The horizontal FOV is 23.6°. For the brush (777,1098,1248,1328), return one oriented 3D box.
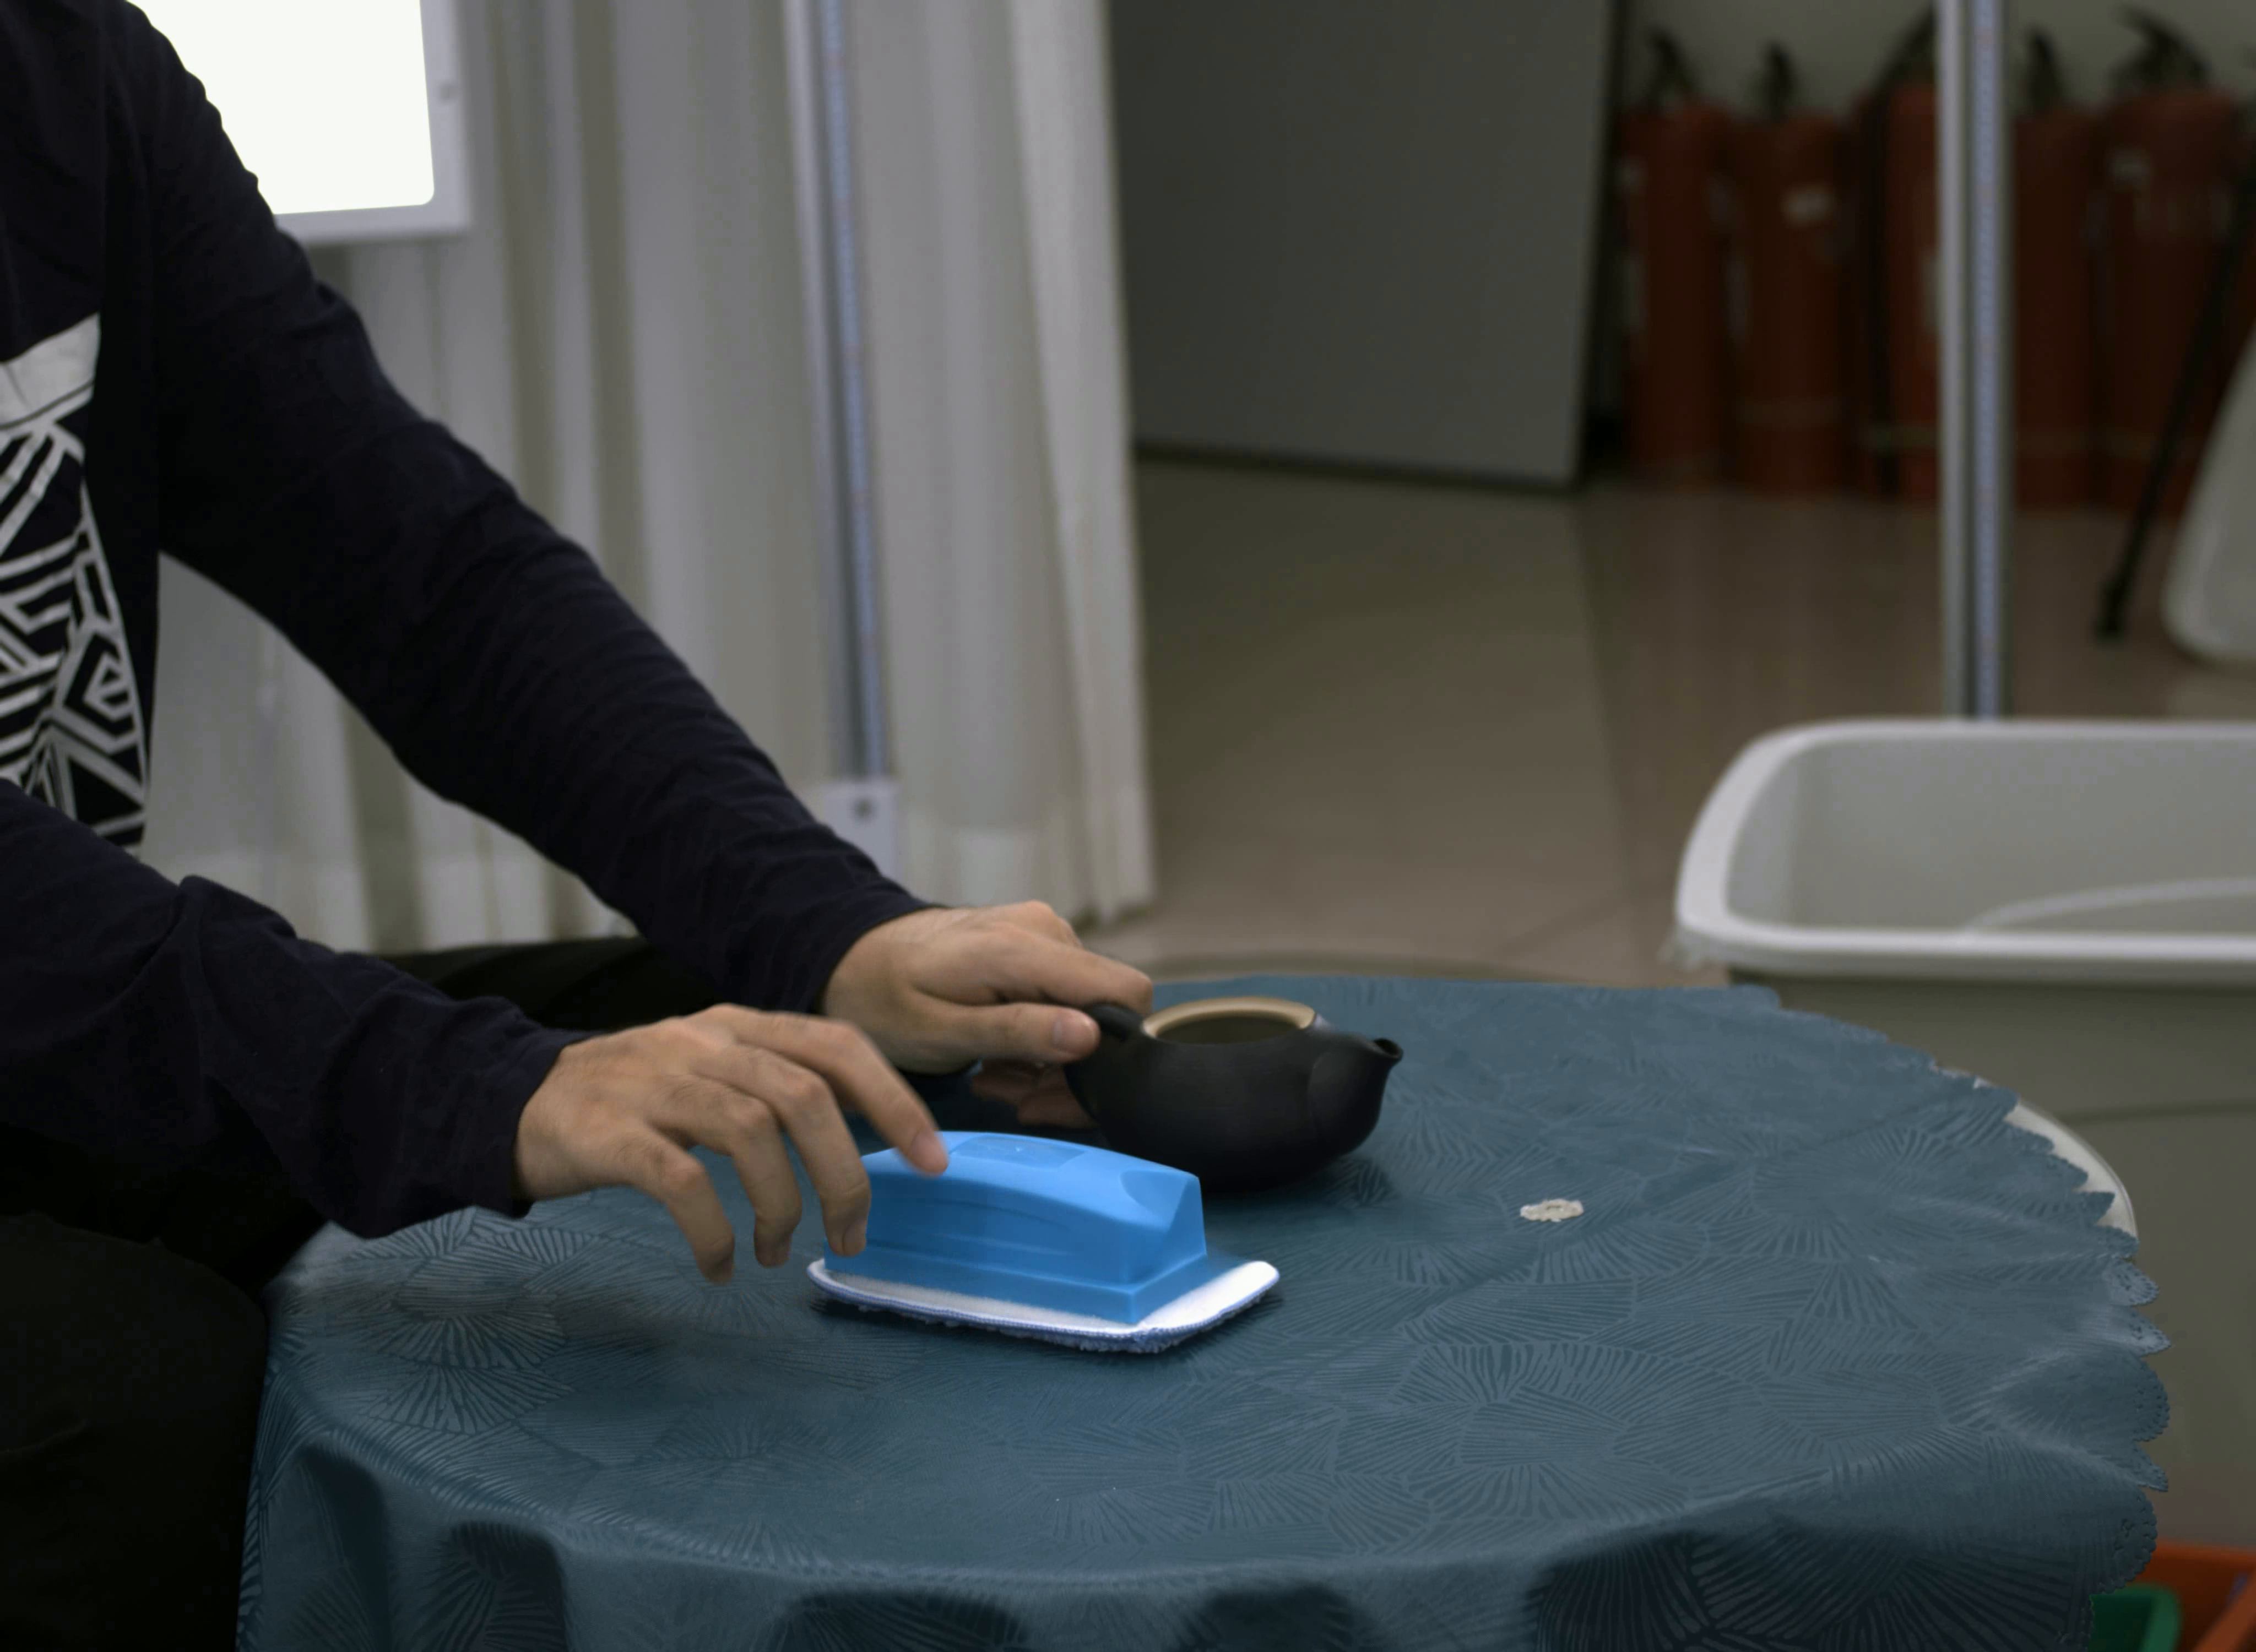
[{"bbox_3d":[-0.035,0.118,1.668,0.145,0.056,0.082,10,16,37],"label":"brush"}]

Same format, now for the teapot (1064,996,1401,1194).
[{"bbox_3d":[0.034,0.089,1.780,0.134,0.053,0.089,7,16,35],"label":"teapot"}]
